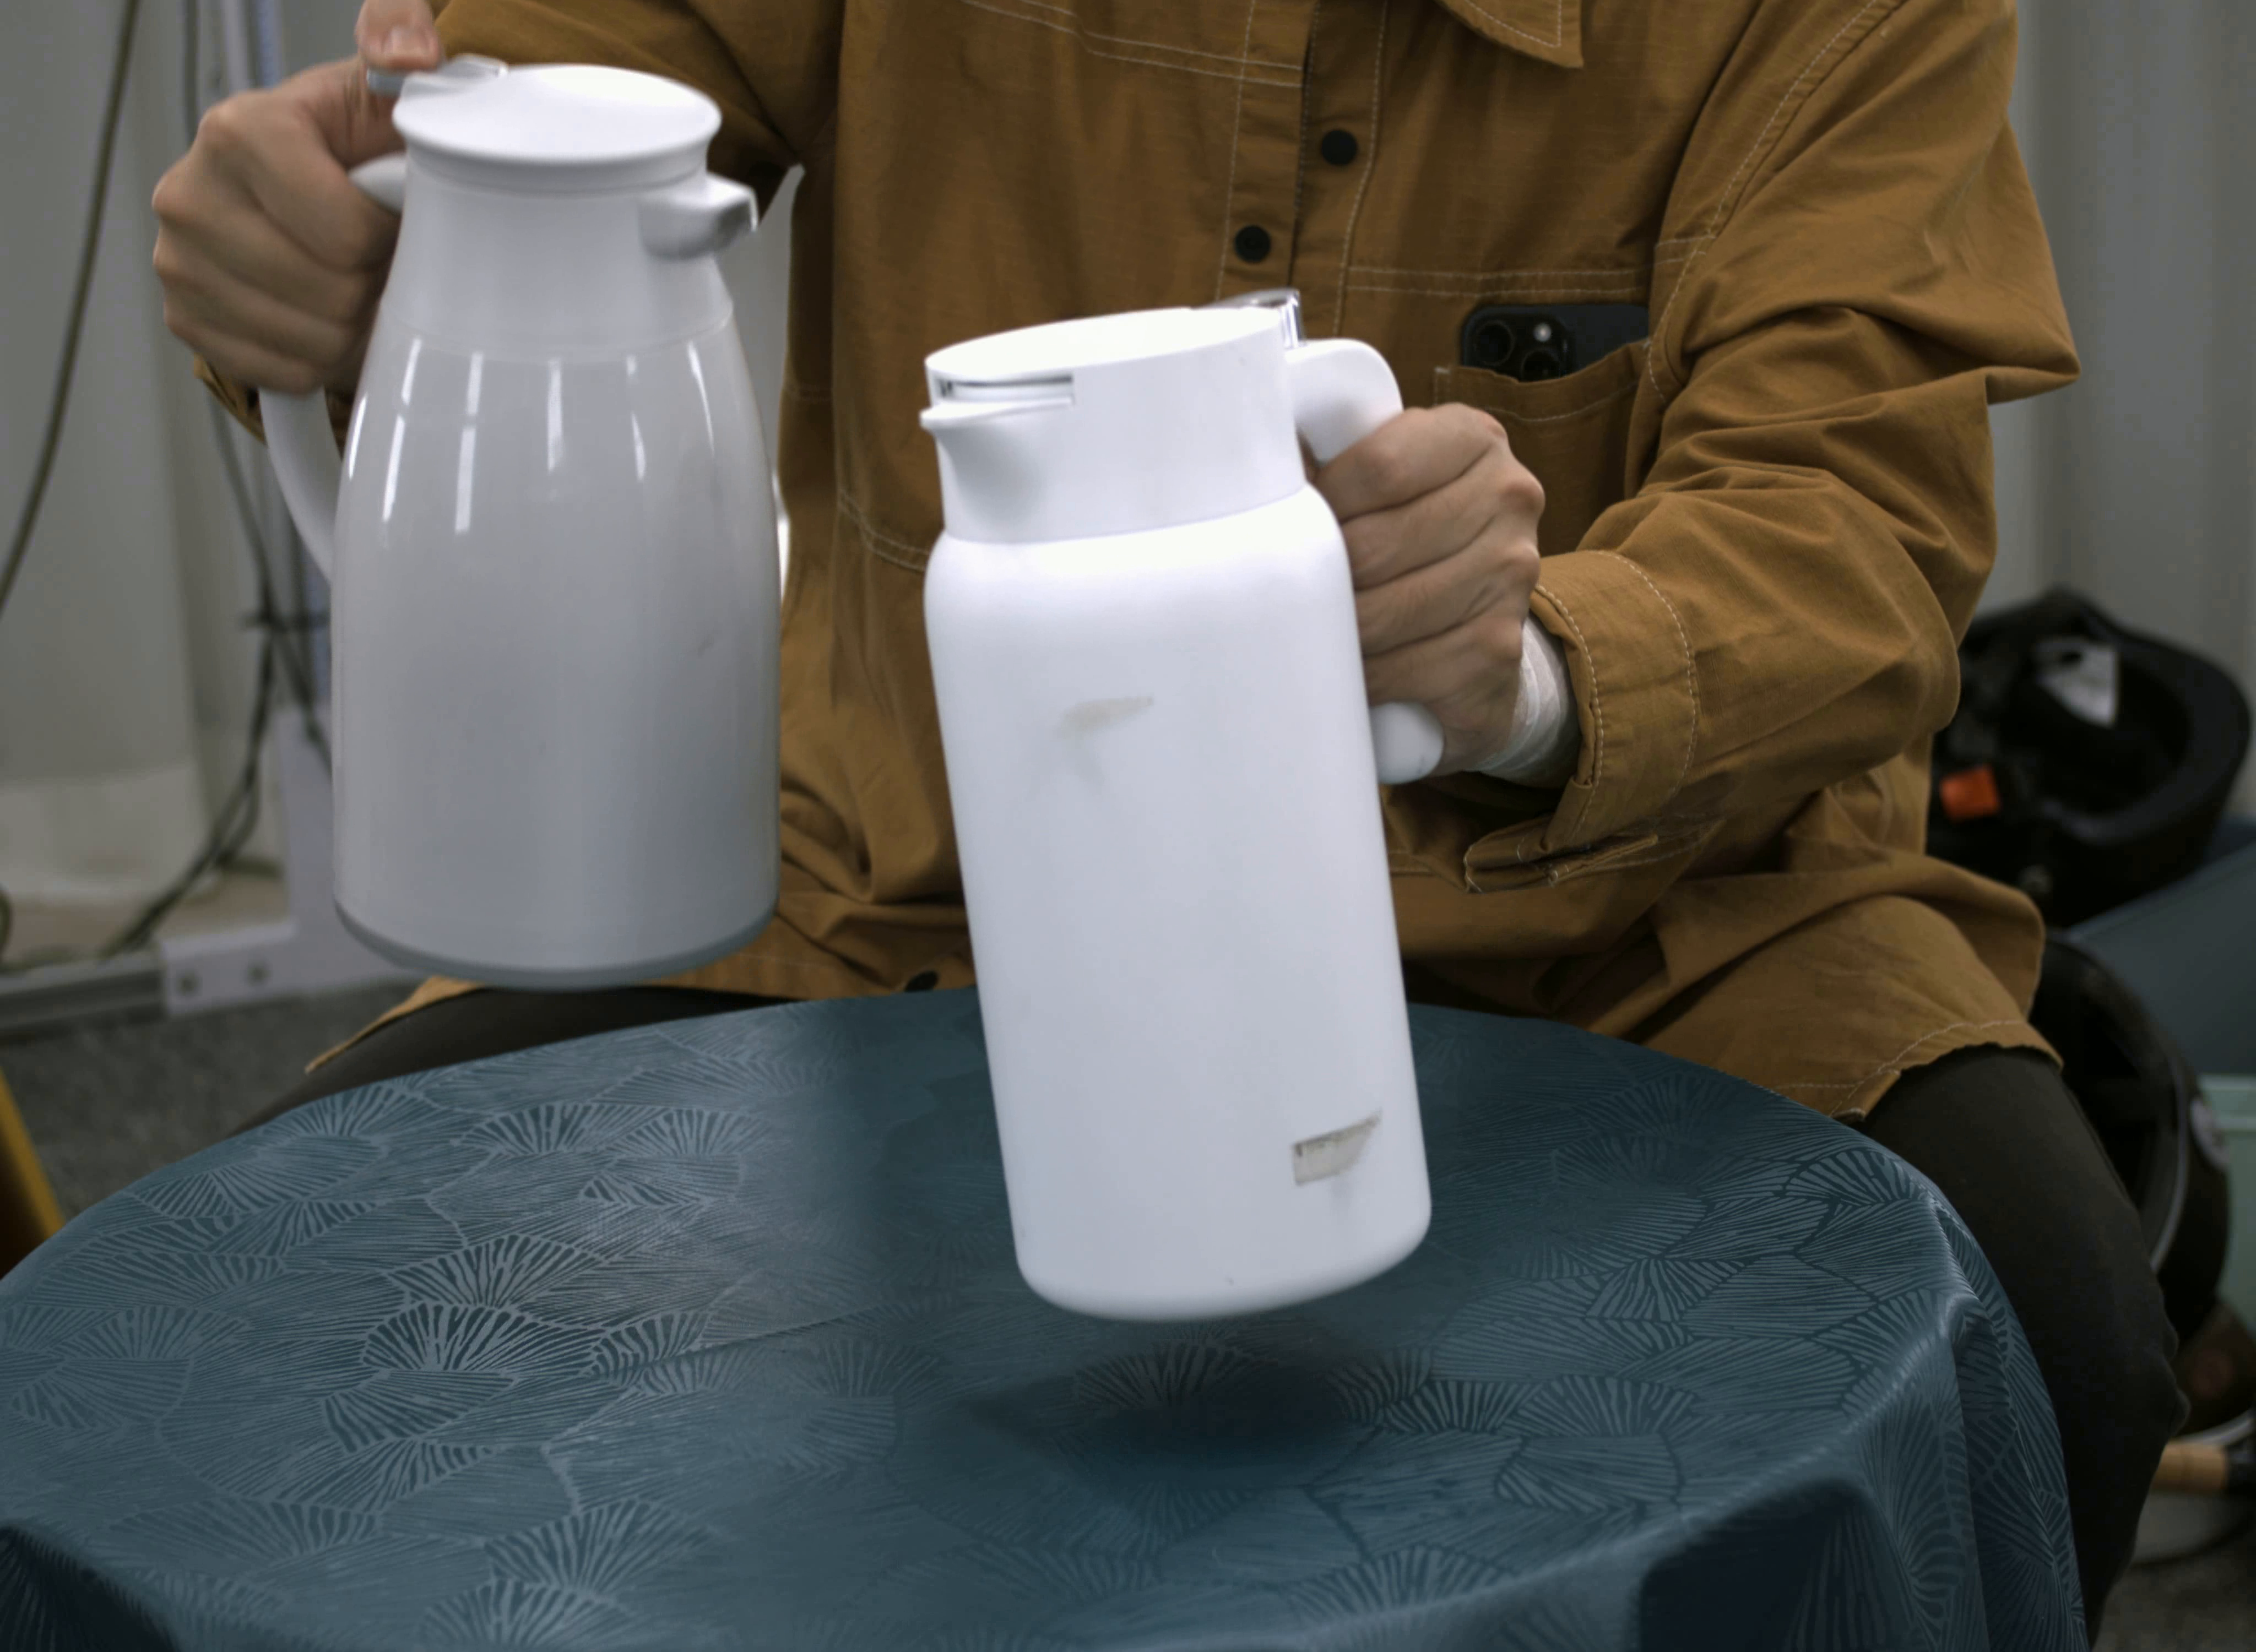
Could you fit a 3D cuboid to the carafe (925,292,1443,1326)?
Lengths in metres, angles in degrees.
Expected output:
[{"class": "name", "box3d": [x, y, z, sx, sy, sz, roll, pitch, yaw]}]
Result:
[{"class": "carafe", "box3d": [0.022, -0.009, 1.515, 0.124, 0.268, 0.172, 0, 13, 43]}]

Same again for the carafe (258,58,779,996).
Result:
[{"class": "carafe", "box3d": [-0.181, -0.094, 1.580, 0.168, 0.247, 0.133, 14, 24, 29]}]
